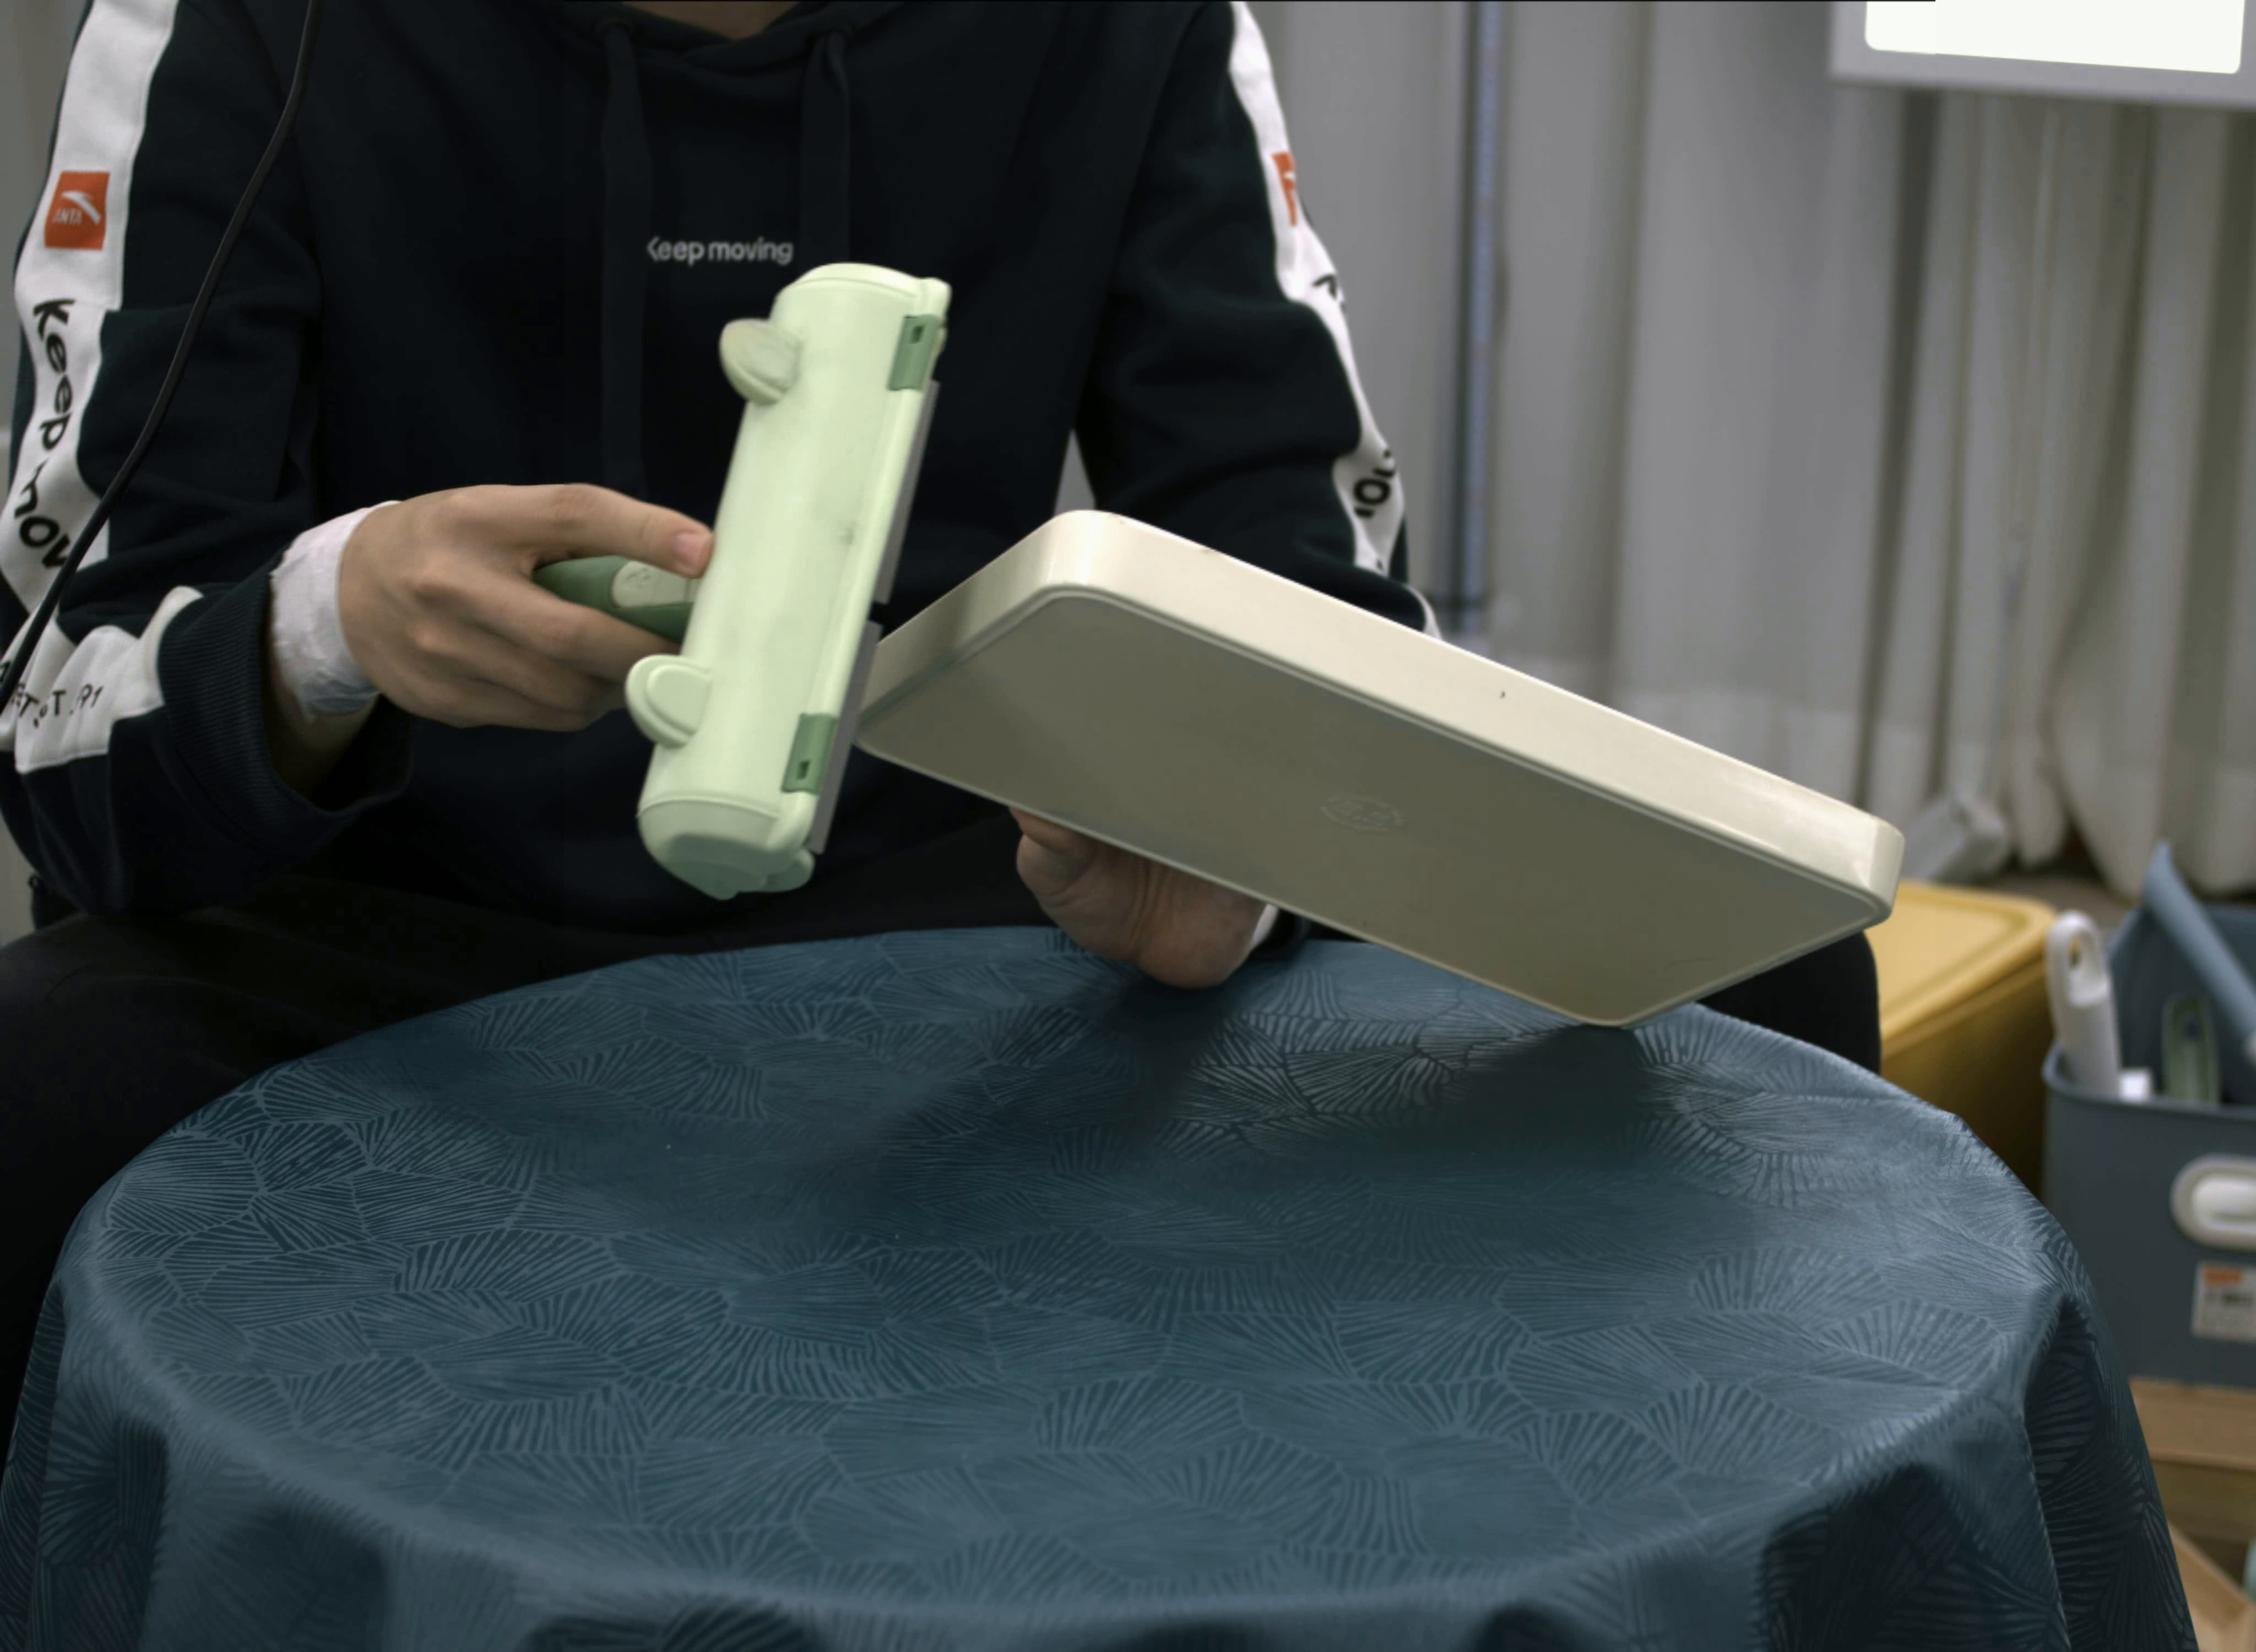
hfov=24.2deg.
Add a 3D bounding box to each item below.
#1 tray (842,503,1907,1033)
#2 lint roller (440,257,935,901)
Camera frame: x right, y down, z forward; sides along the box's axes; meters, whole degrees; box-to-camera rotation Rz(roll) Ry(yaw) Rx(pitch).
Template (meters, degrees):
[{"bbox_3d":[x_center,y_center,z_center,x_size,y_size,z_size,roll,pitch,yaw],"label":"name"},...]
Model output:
[{"bbox_3d":[0.075,-0.011,1.659,0.302,0.027,0.191,21,-23,-20],"label":"tray"},{"bbox_3d":[-0.153,-0.076,1.593,0.181,0.198,0.083,-2,-26,31],"label":"lint roller"}]
